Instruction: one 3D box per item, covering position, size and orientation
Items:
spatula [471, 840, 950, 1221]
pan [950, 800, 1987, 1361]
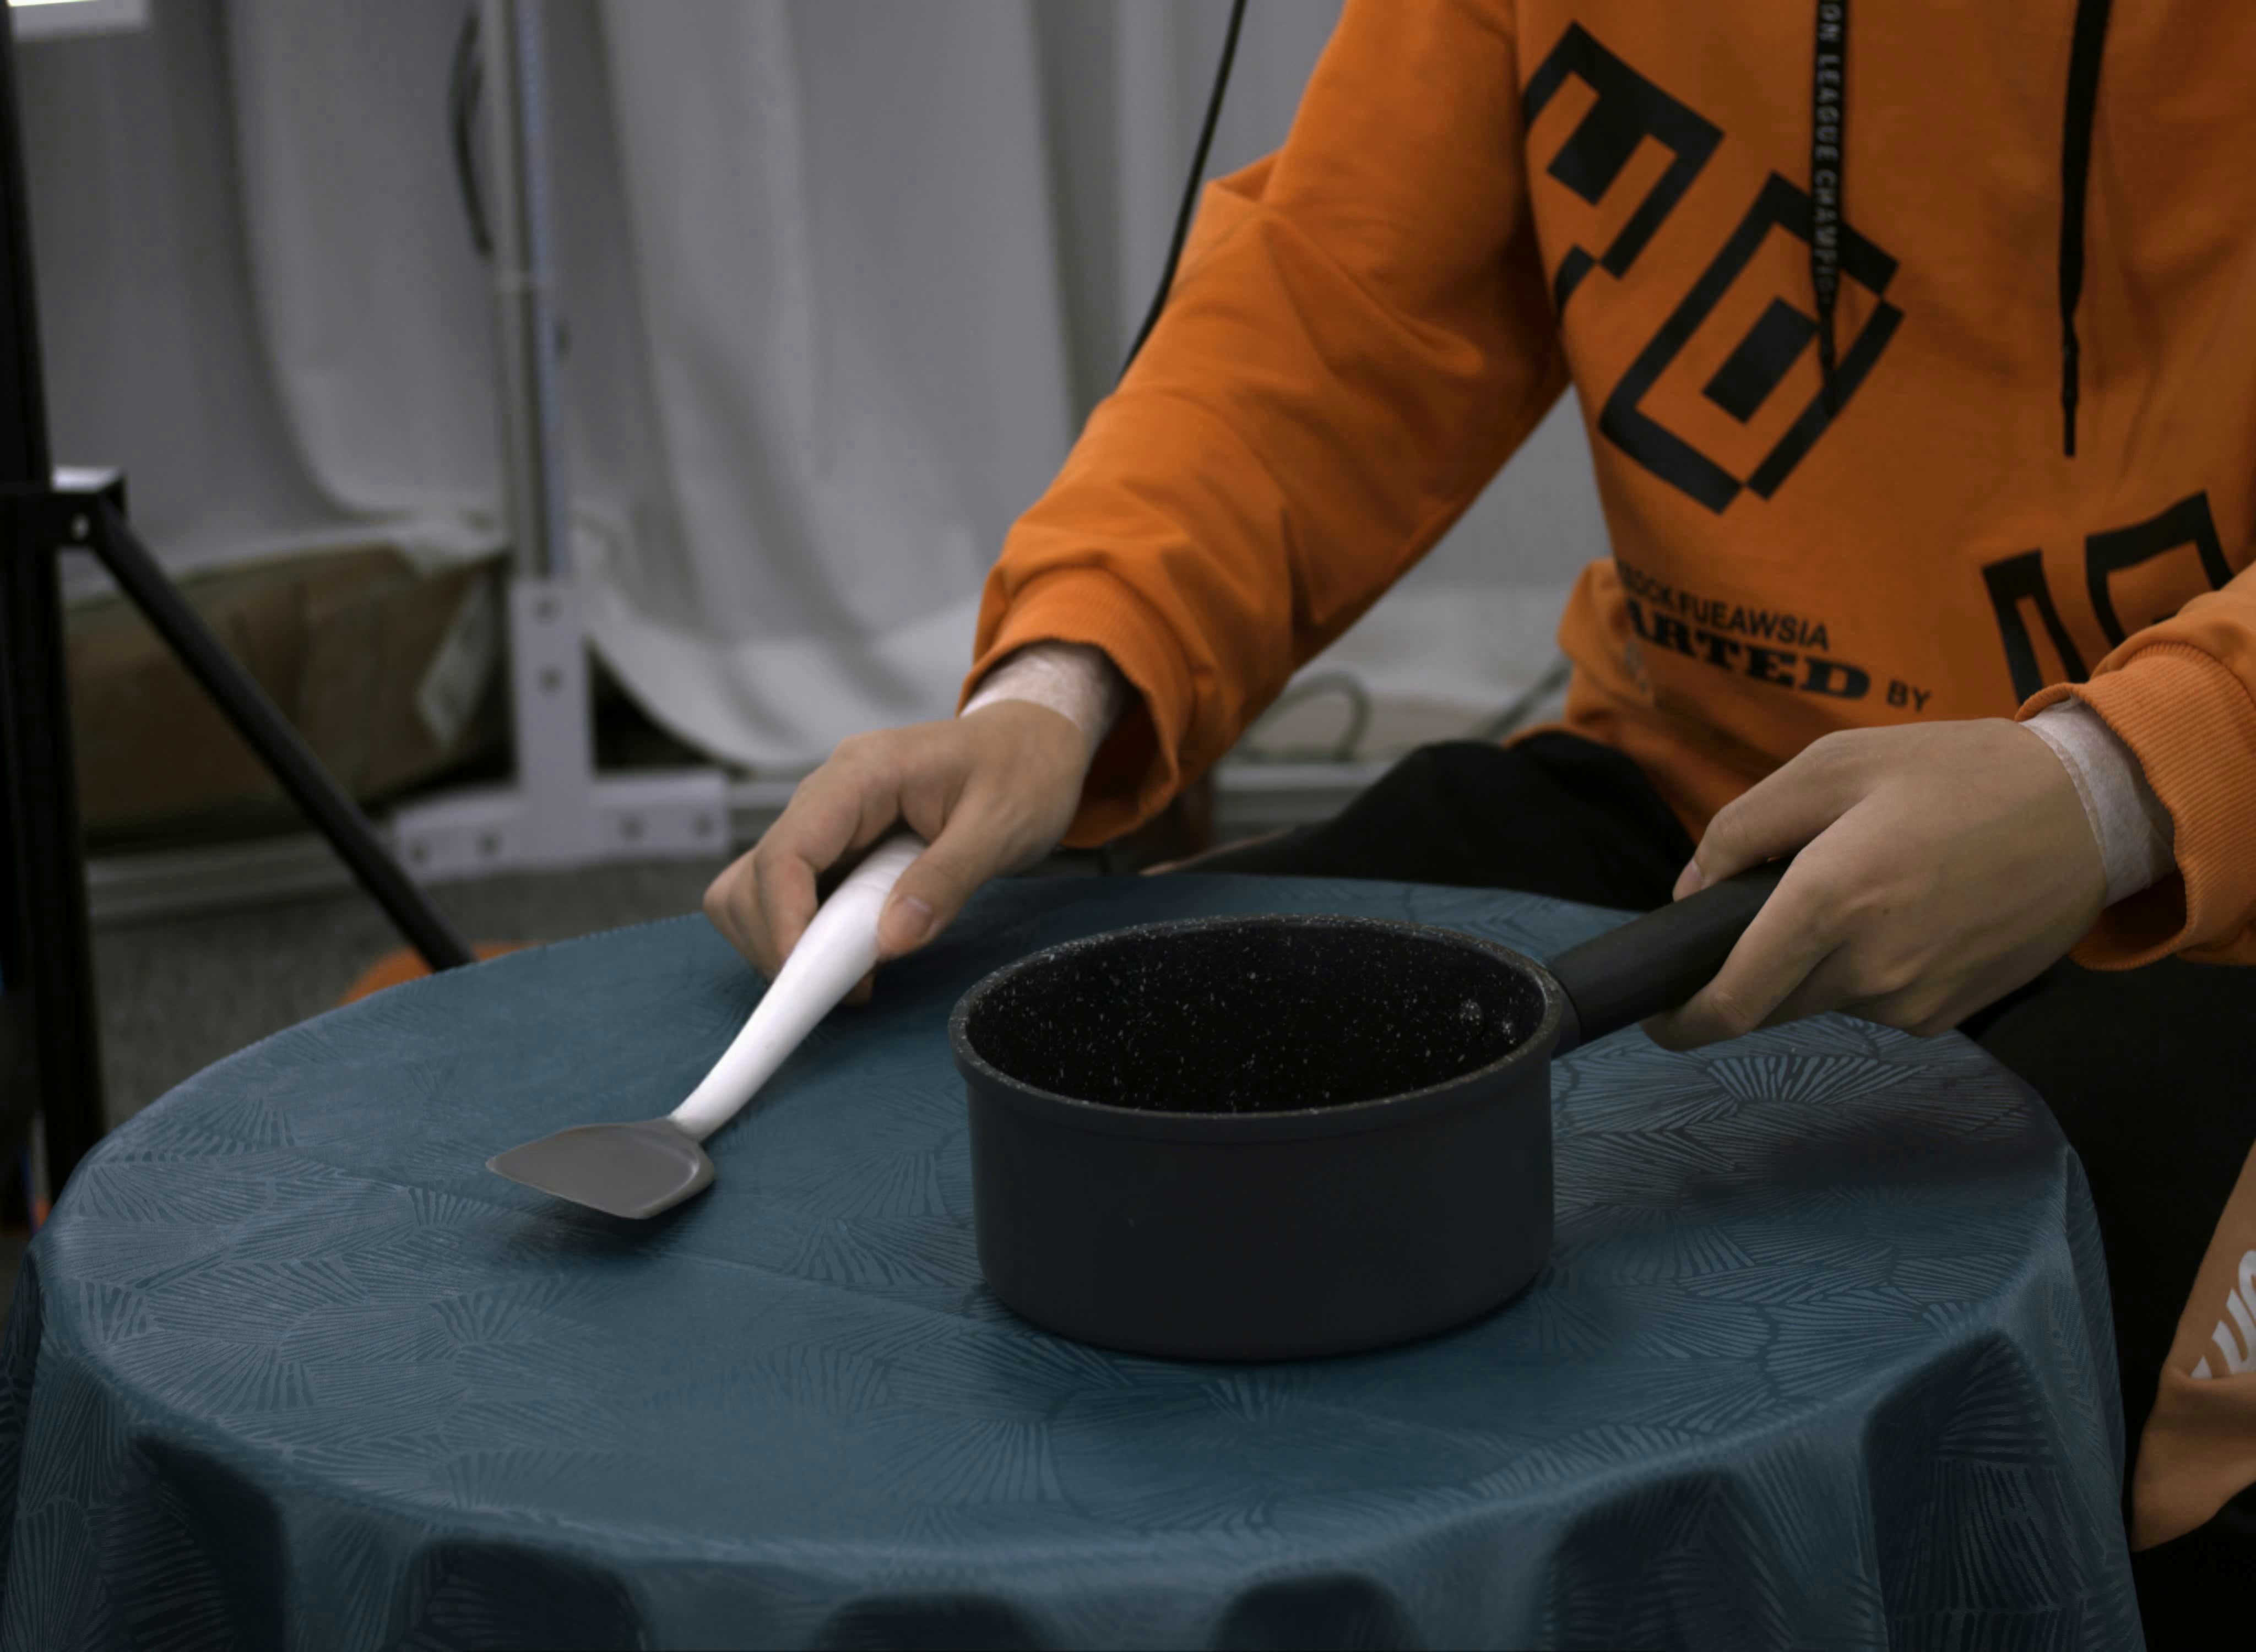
[{"bbox_3d":[-0.120,0.067,1.651,0.059,0.032,0.284,21,26,12],"label":"spatula"},{"bbox_3d":[0.106,0.068,1.514,0.322,0.086,0.175,-13,19,-24],"label":"pan"}]
